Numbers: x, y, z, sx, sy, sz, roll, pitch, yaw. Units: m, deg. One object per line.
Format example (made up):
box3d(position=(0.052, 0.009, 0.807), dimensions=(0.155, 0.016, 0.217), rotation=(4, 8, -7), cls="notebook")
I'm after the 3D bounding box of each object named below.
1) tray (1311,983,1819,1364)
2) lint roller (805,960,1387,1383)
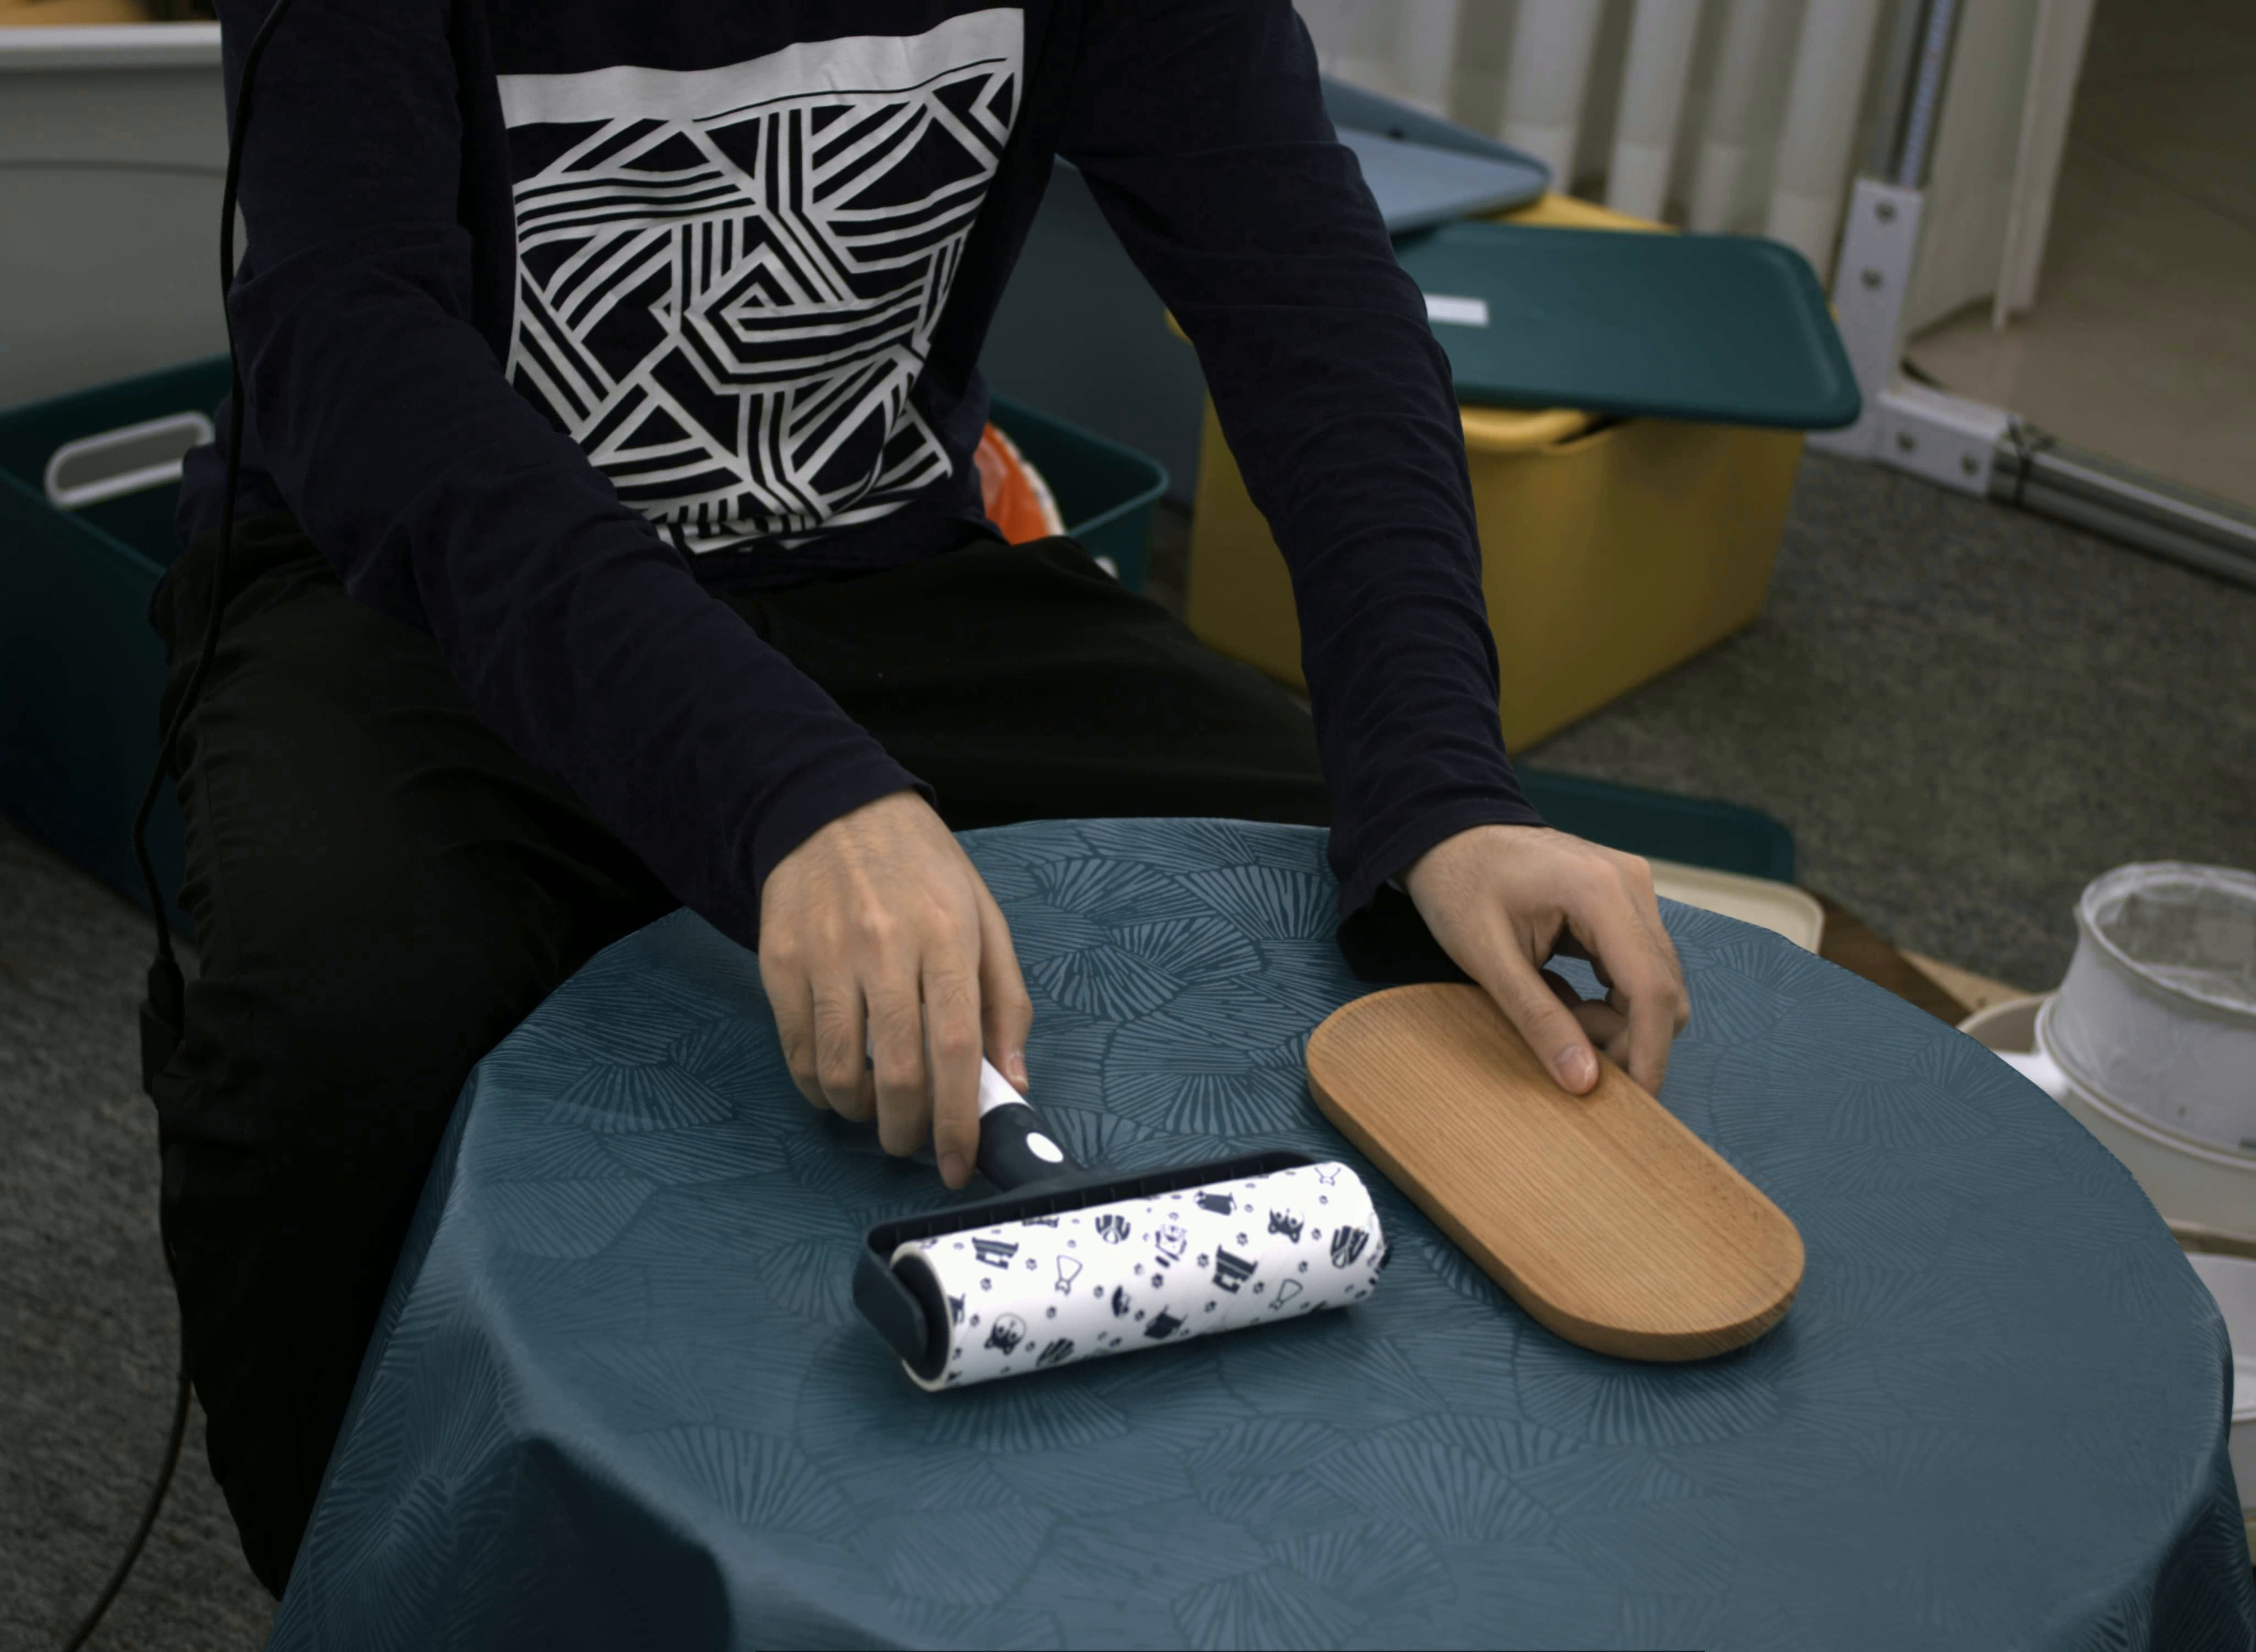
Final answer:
box3d(position=(0.147, 0.117, 1.822), dimensions=(0.101, 0.020, 0.233), rotation=(-19, 36, -23), cls="tray")
box3d(position=(-0.048, 0.100, 1.790), dimensions=(0.175, 0.050, 0.249), rotation=(-10, 30, -28), cls="lint roller")
